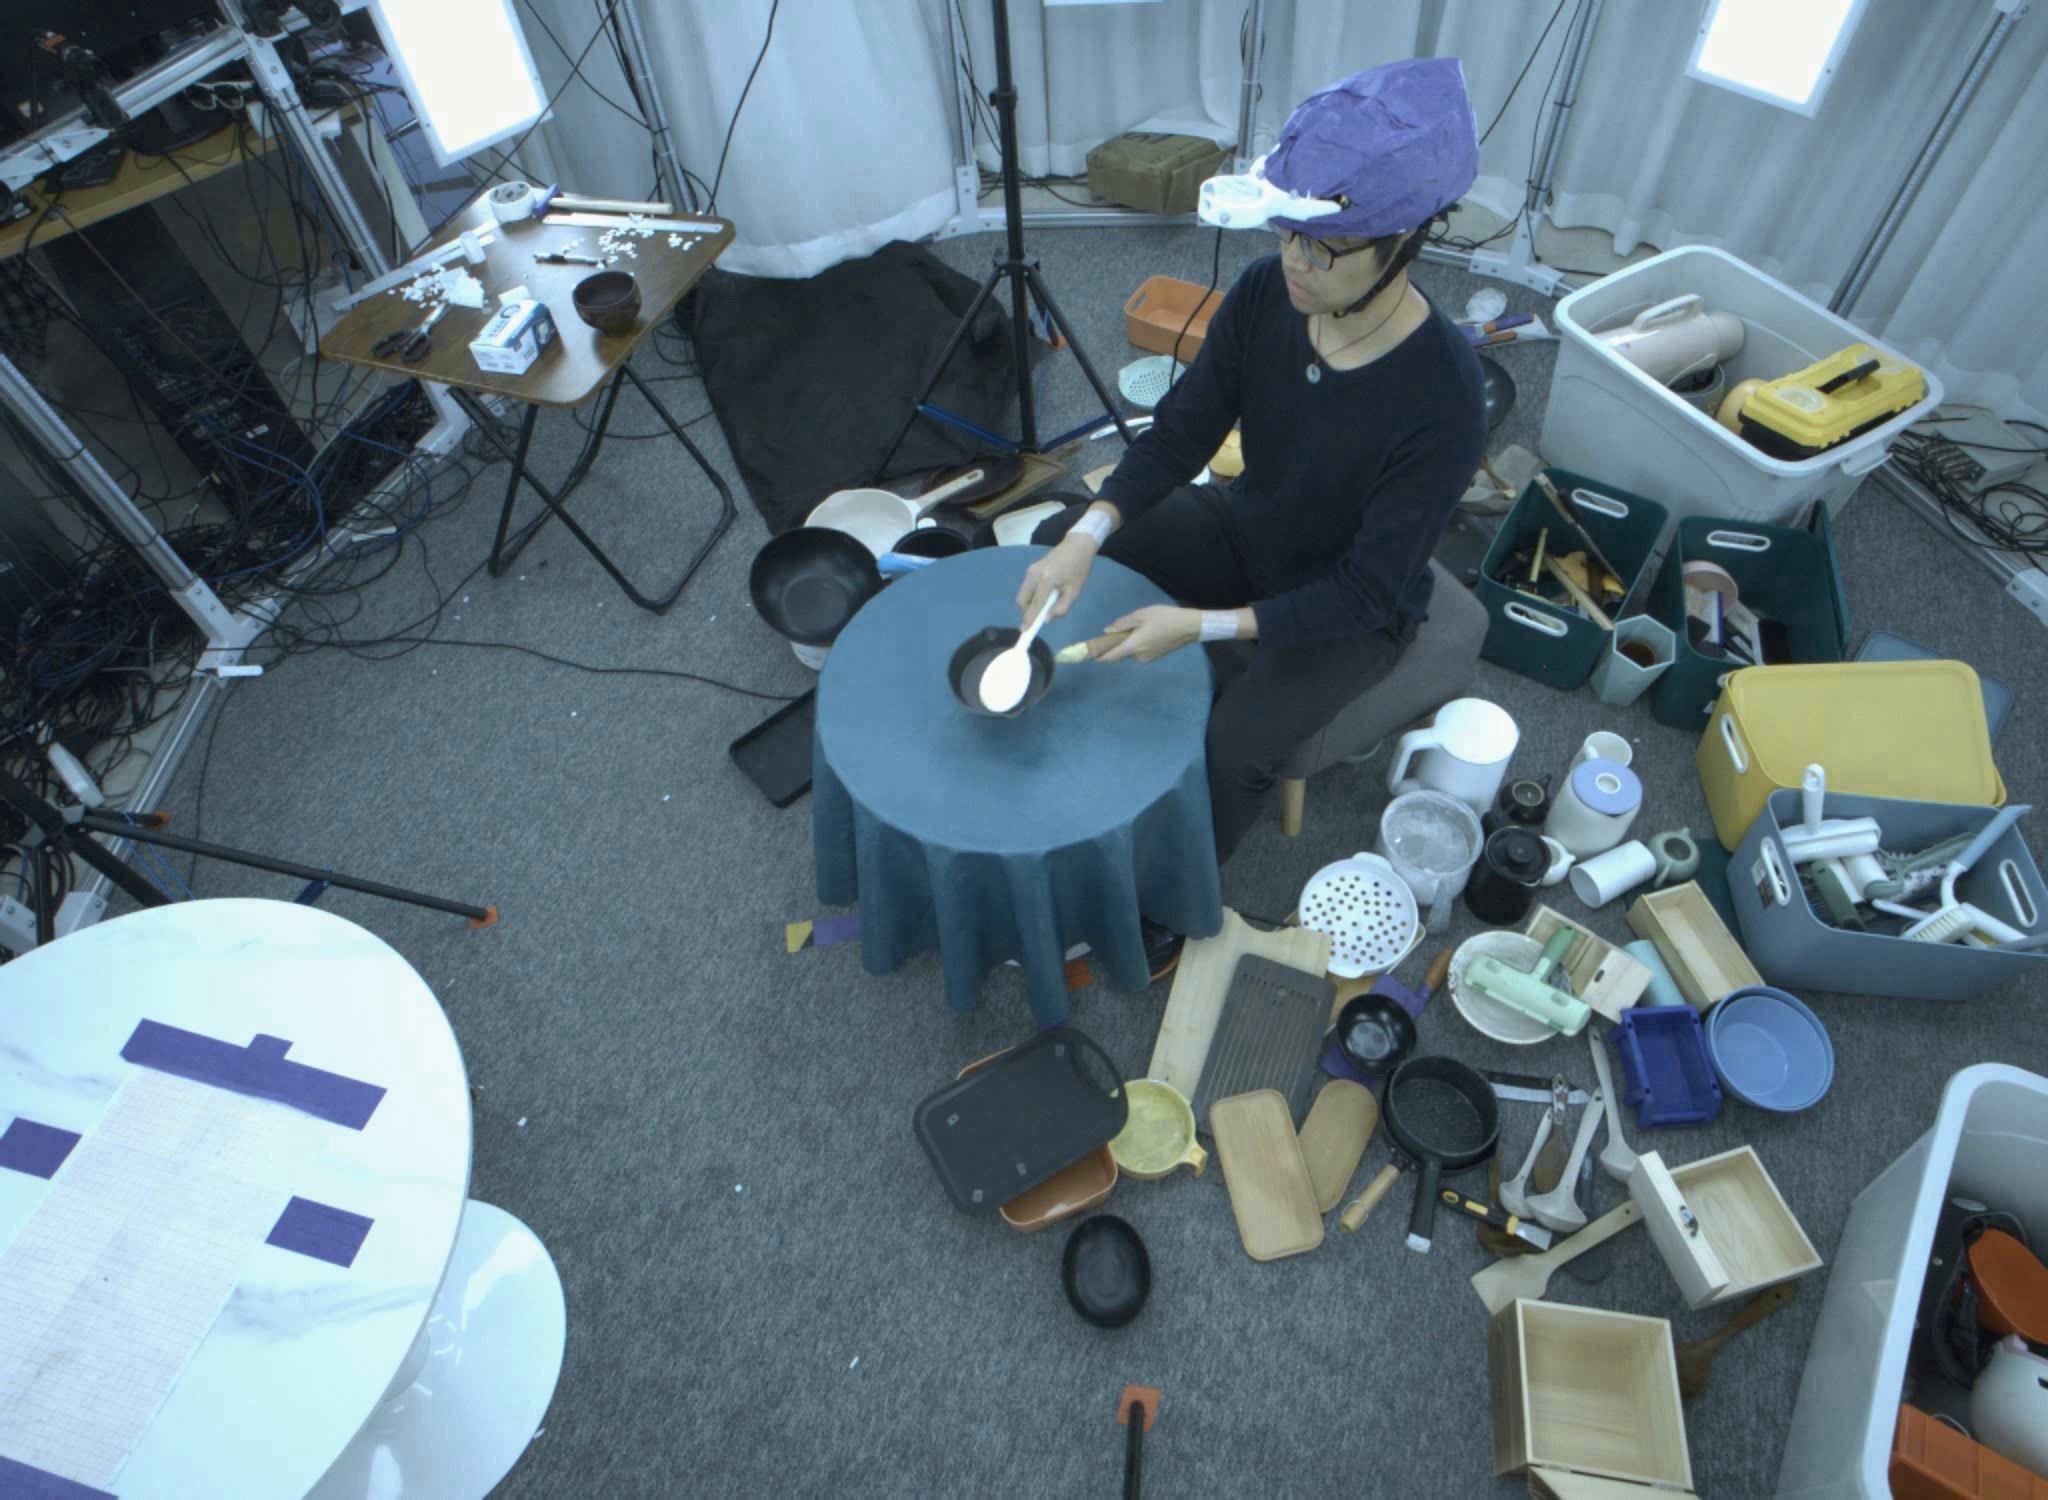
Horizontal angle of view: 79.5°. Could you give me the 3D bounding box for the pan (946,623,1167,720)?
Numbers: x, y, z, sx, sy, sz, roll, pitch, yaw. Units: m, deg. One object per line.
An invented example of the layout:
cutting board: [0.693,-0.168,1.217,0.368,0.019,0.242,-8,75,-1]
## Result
pan: [0.048,-0.127,1.763,0.325,0.050,0.166,-14,59,-2]

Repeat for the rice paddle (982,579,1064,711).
rice paddle: [-0.001,-0.147,1.753,0.068,0.030,0.205,24,86,20]
